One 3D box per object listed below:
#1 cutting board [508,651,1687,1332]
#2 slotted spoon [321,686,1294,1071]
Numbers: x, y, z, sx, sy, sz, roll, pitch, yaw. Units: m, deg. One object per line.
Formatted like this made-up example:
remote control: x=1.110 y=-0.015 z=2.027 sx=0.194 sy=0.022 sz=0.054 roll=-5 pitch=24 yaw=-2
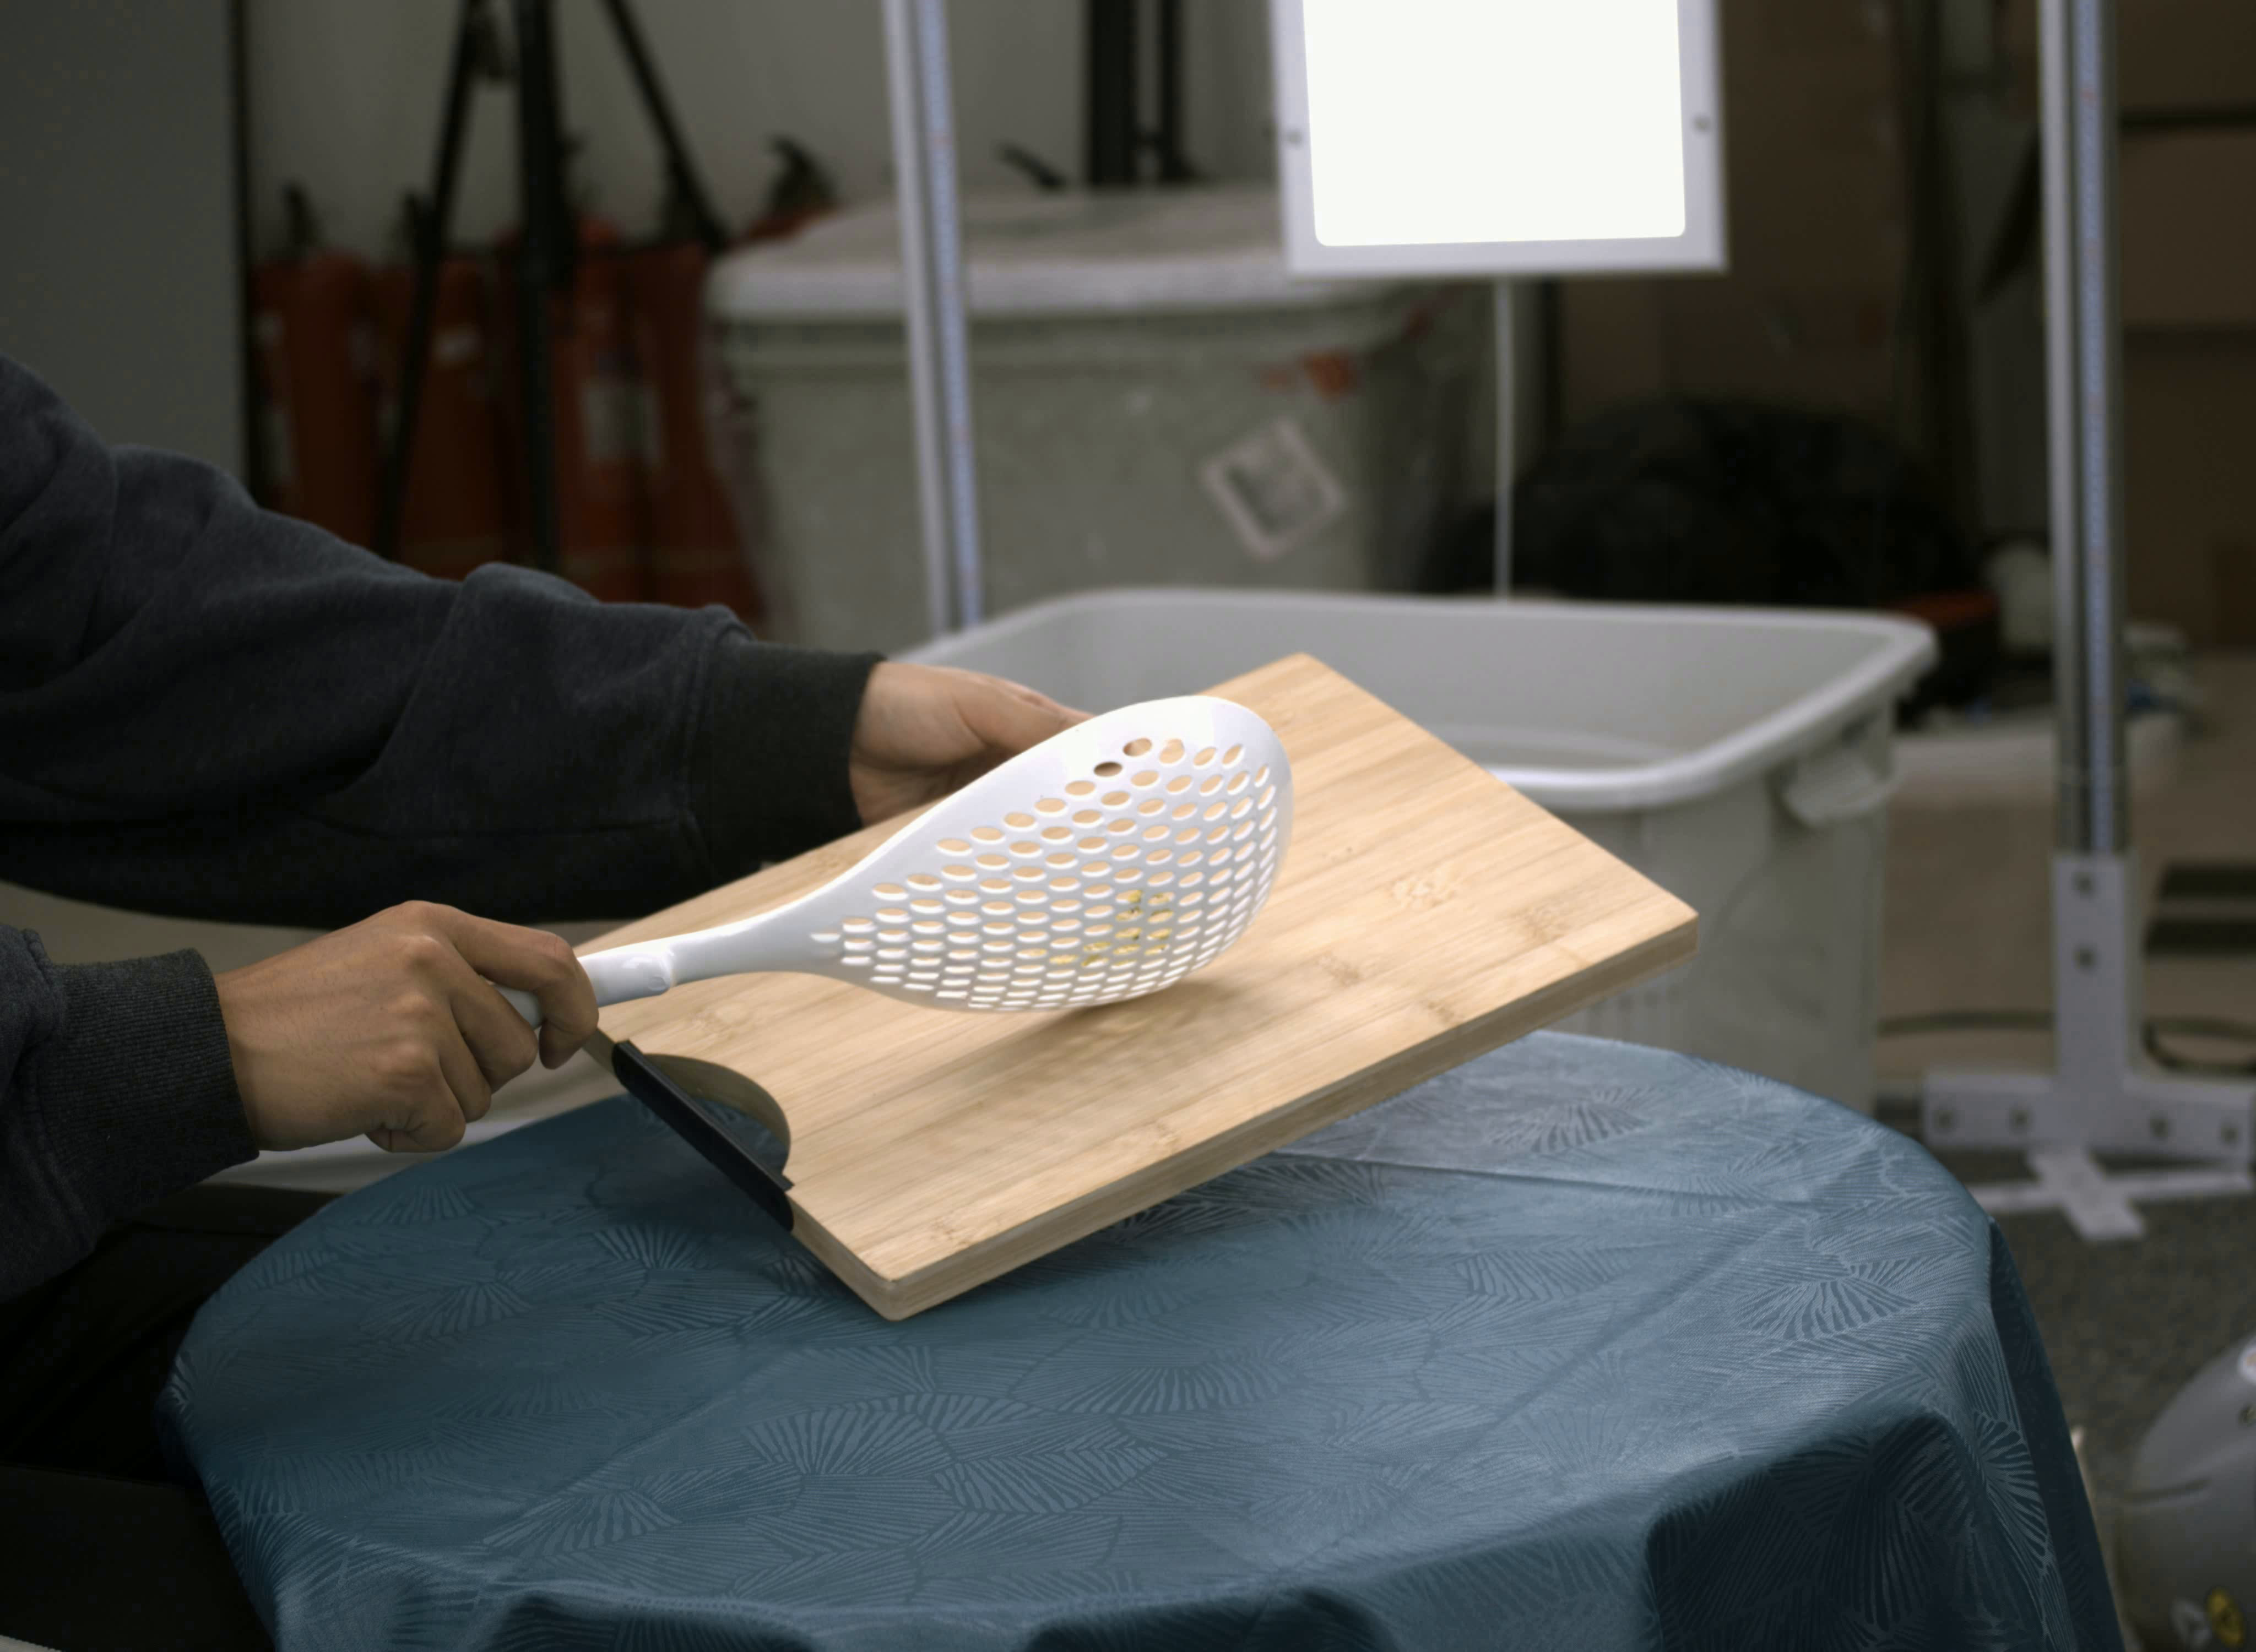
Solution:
cutting board: x=-0.009 y=0.049 z=1.936 sx=0.341 sy=0.023 sz=0.255 roll=-24 pitch=36 yaw=-26
slotted spoon: x=-0.100 y=0.038 z=1.816 sx=0.343 sy=0.138 sz=0.050 roll=-9 pitch=45 yaw=-15
